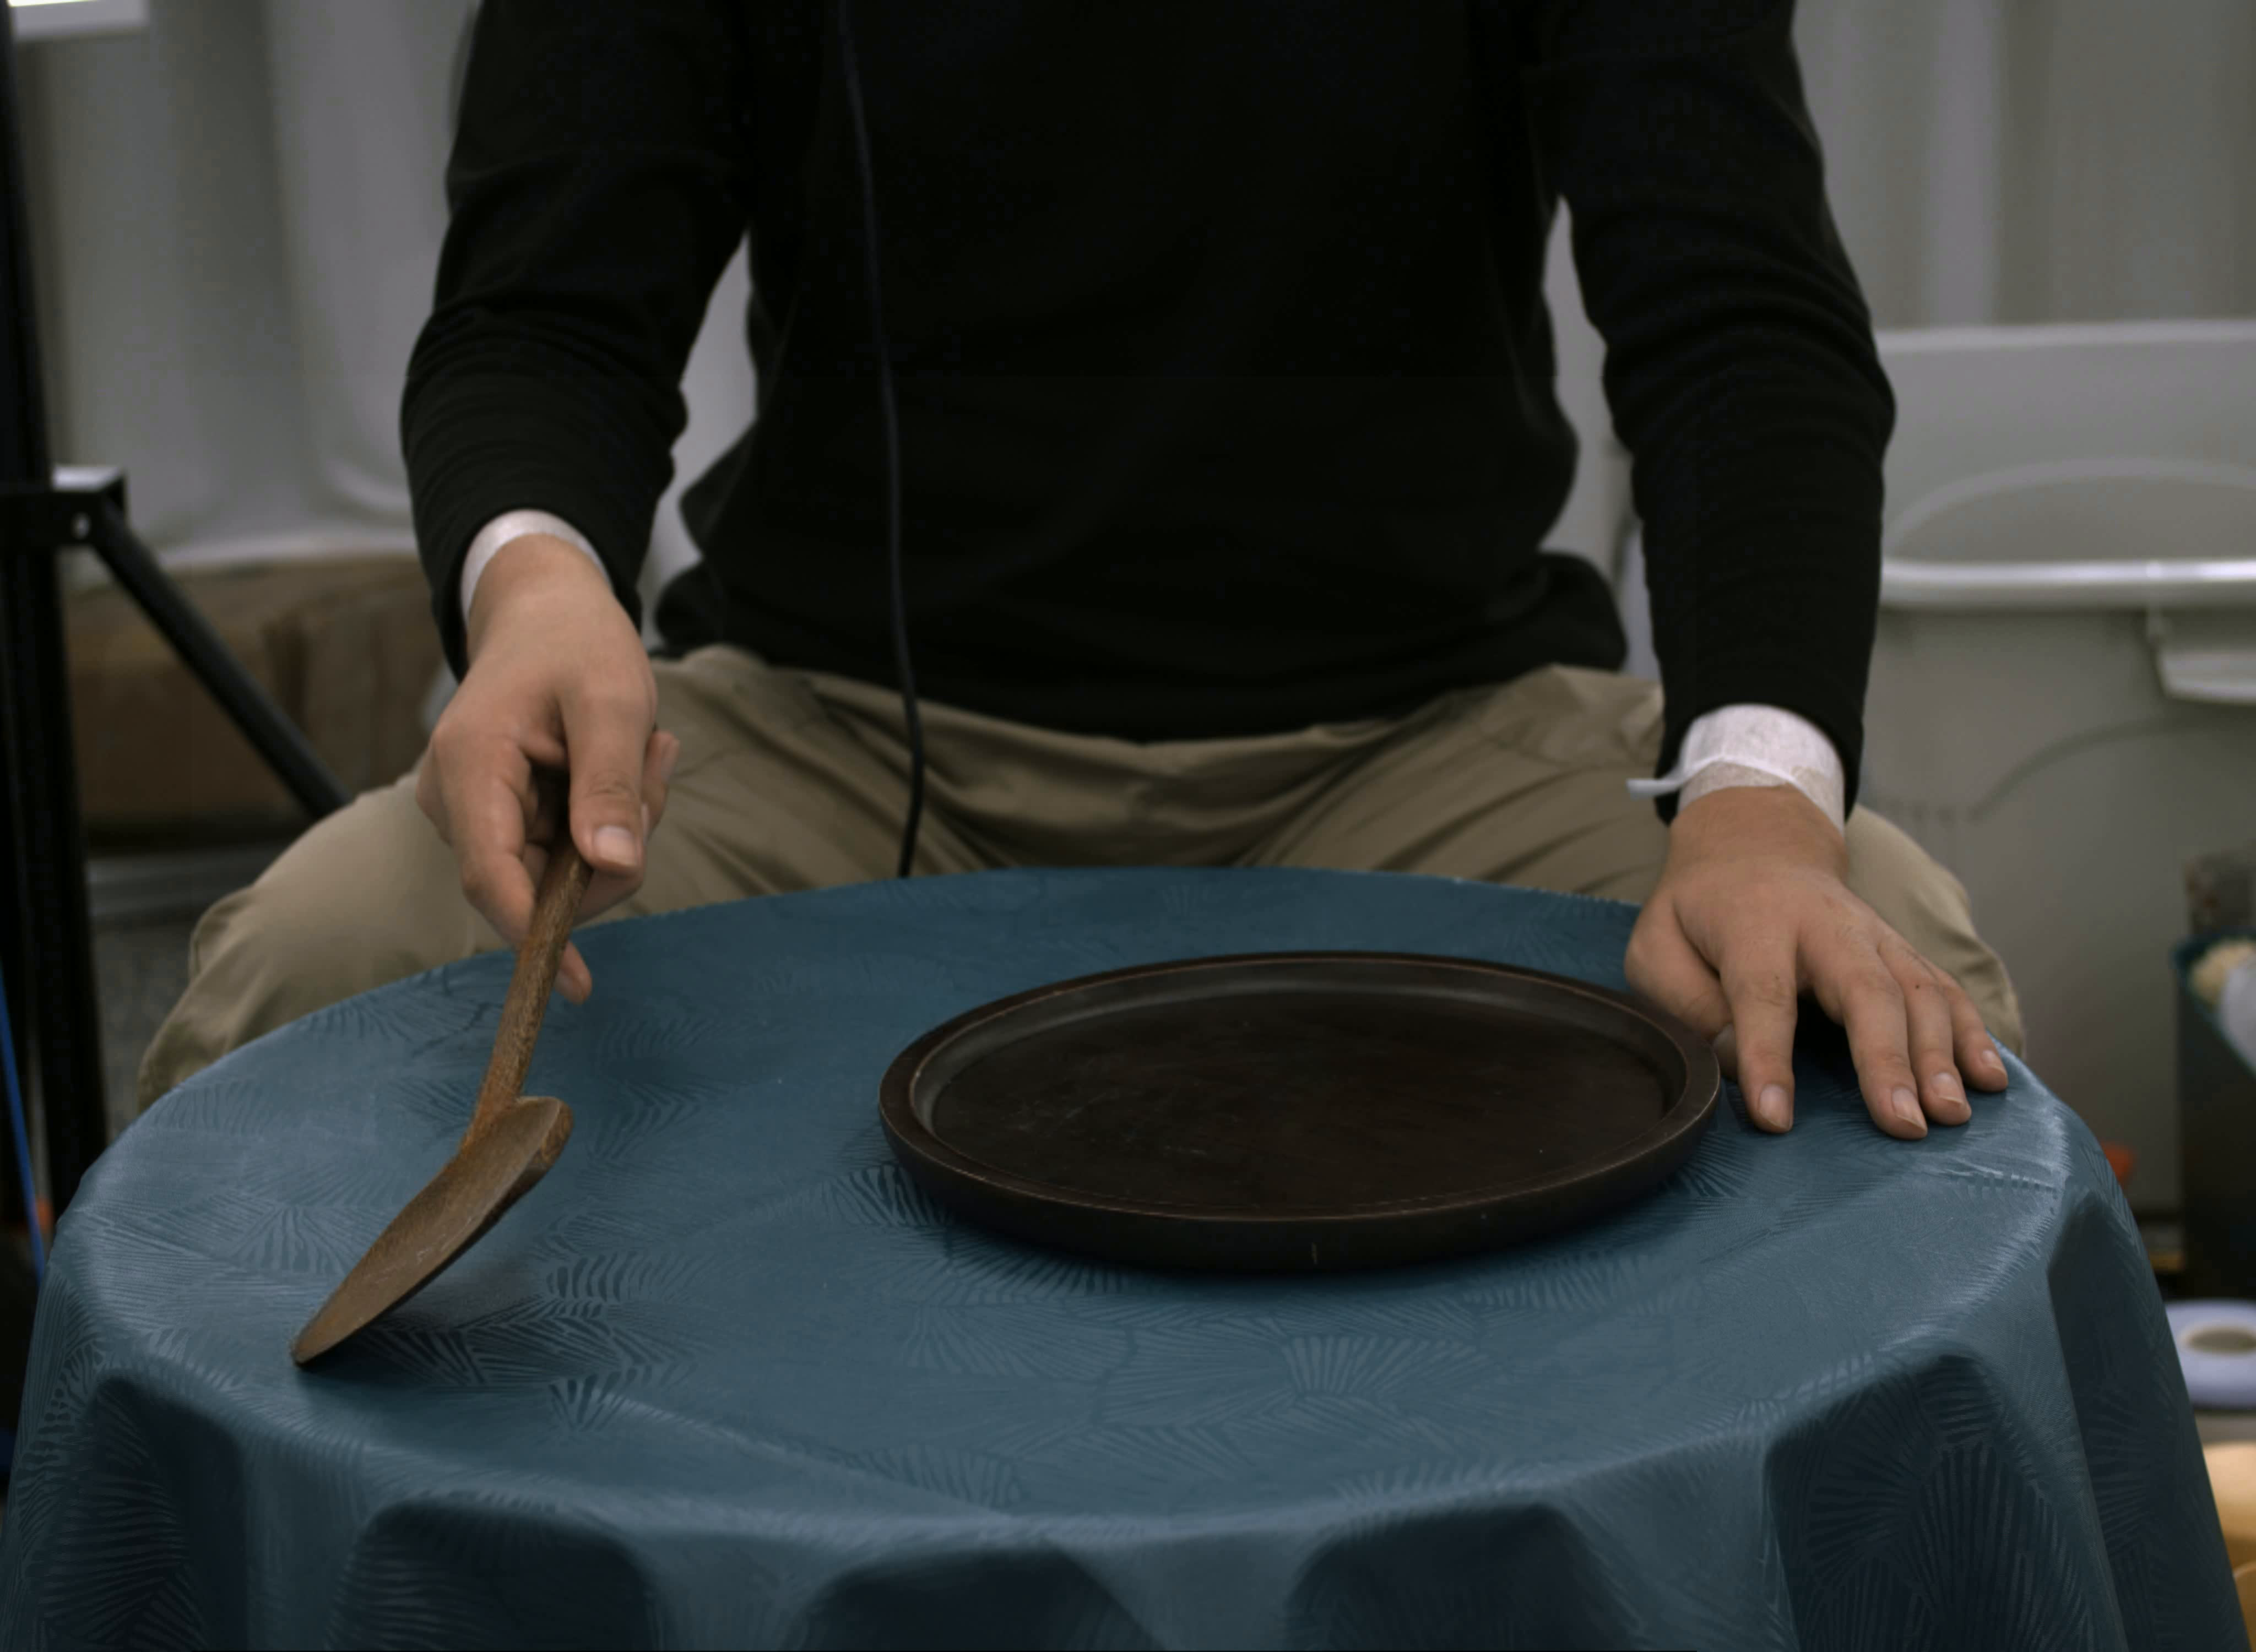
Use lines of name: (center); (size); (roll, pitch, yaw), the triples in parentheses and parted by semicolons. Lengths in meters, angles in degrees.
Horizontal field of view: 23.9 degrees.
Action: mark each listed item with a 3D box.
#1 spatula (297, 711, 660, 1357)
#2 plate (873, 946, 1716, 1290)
spatula: (-0.178, 0.046, 1.601); (0.097, 0.015, 0.387); (-40, 17, 19)
plate: (0.050, 0.085, 1.591); (0.253, 0.029, 0.256); (-4, 17, 0)
